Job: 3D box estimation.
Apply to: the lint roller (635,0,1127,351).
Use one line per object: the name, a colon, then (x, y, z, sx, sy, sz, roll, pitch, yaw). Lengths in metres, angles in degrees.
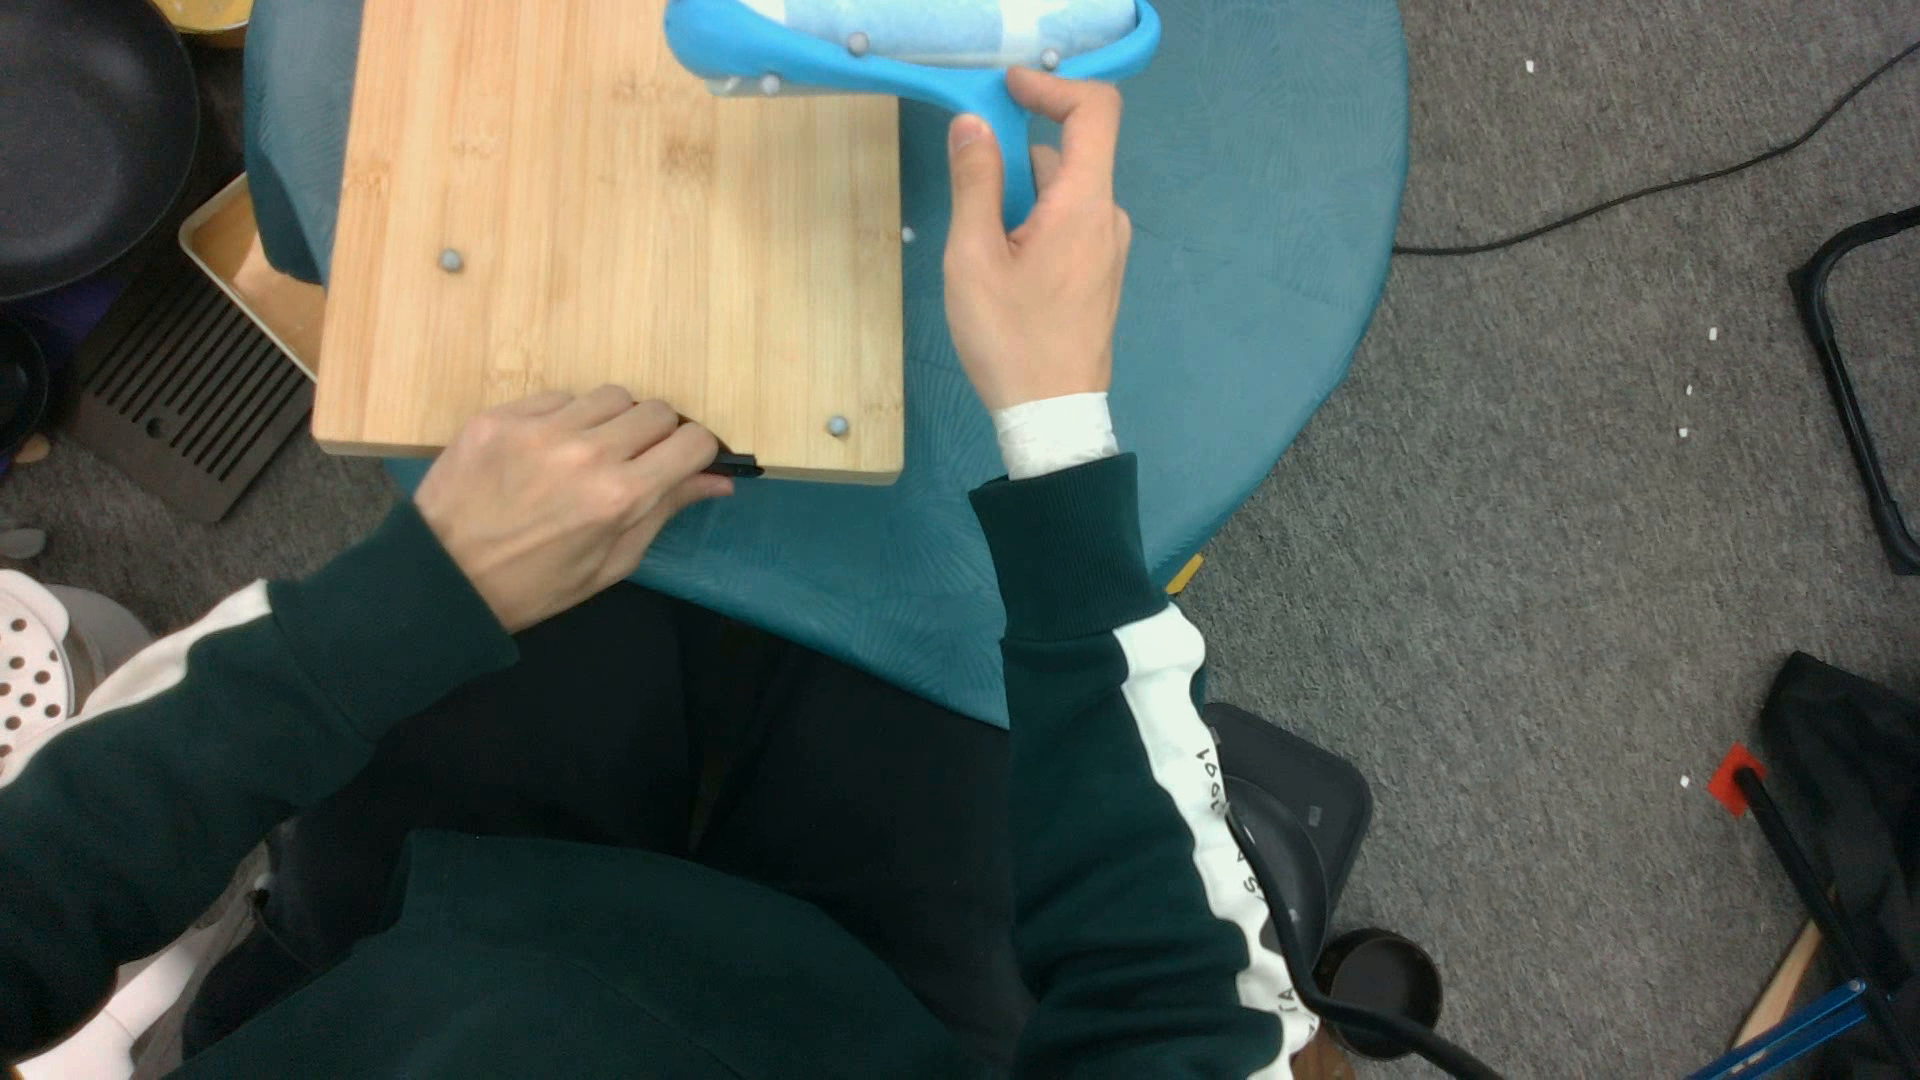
lint roller: (-0.005, -0.173, 0.585, 0.230, 0.067, 0.180, -17, 75, -31)

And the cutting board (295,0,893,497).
cutting board: (-0.157, -0.187, 0.635, 0.251, 0.023, 0.349, 0, 72, -13)
